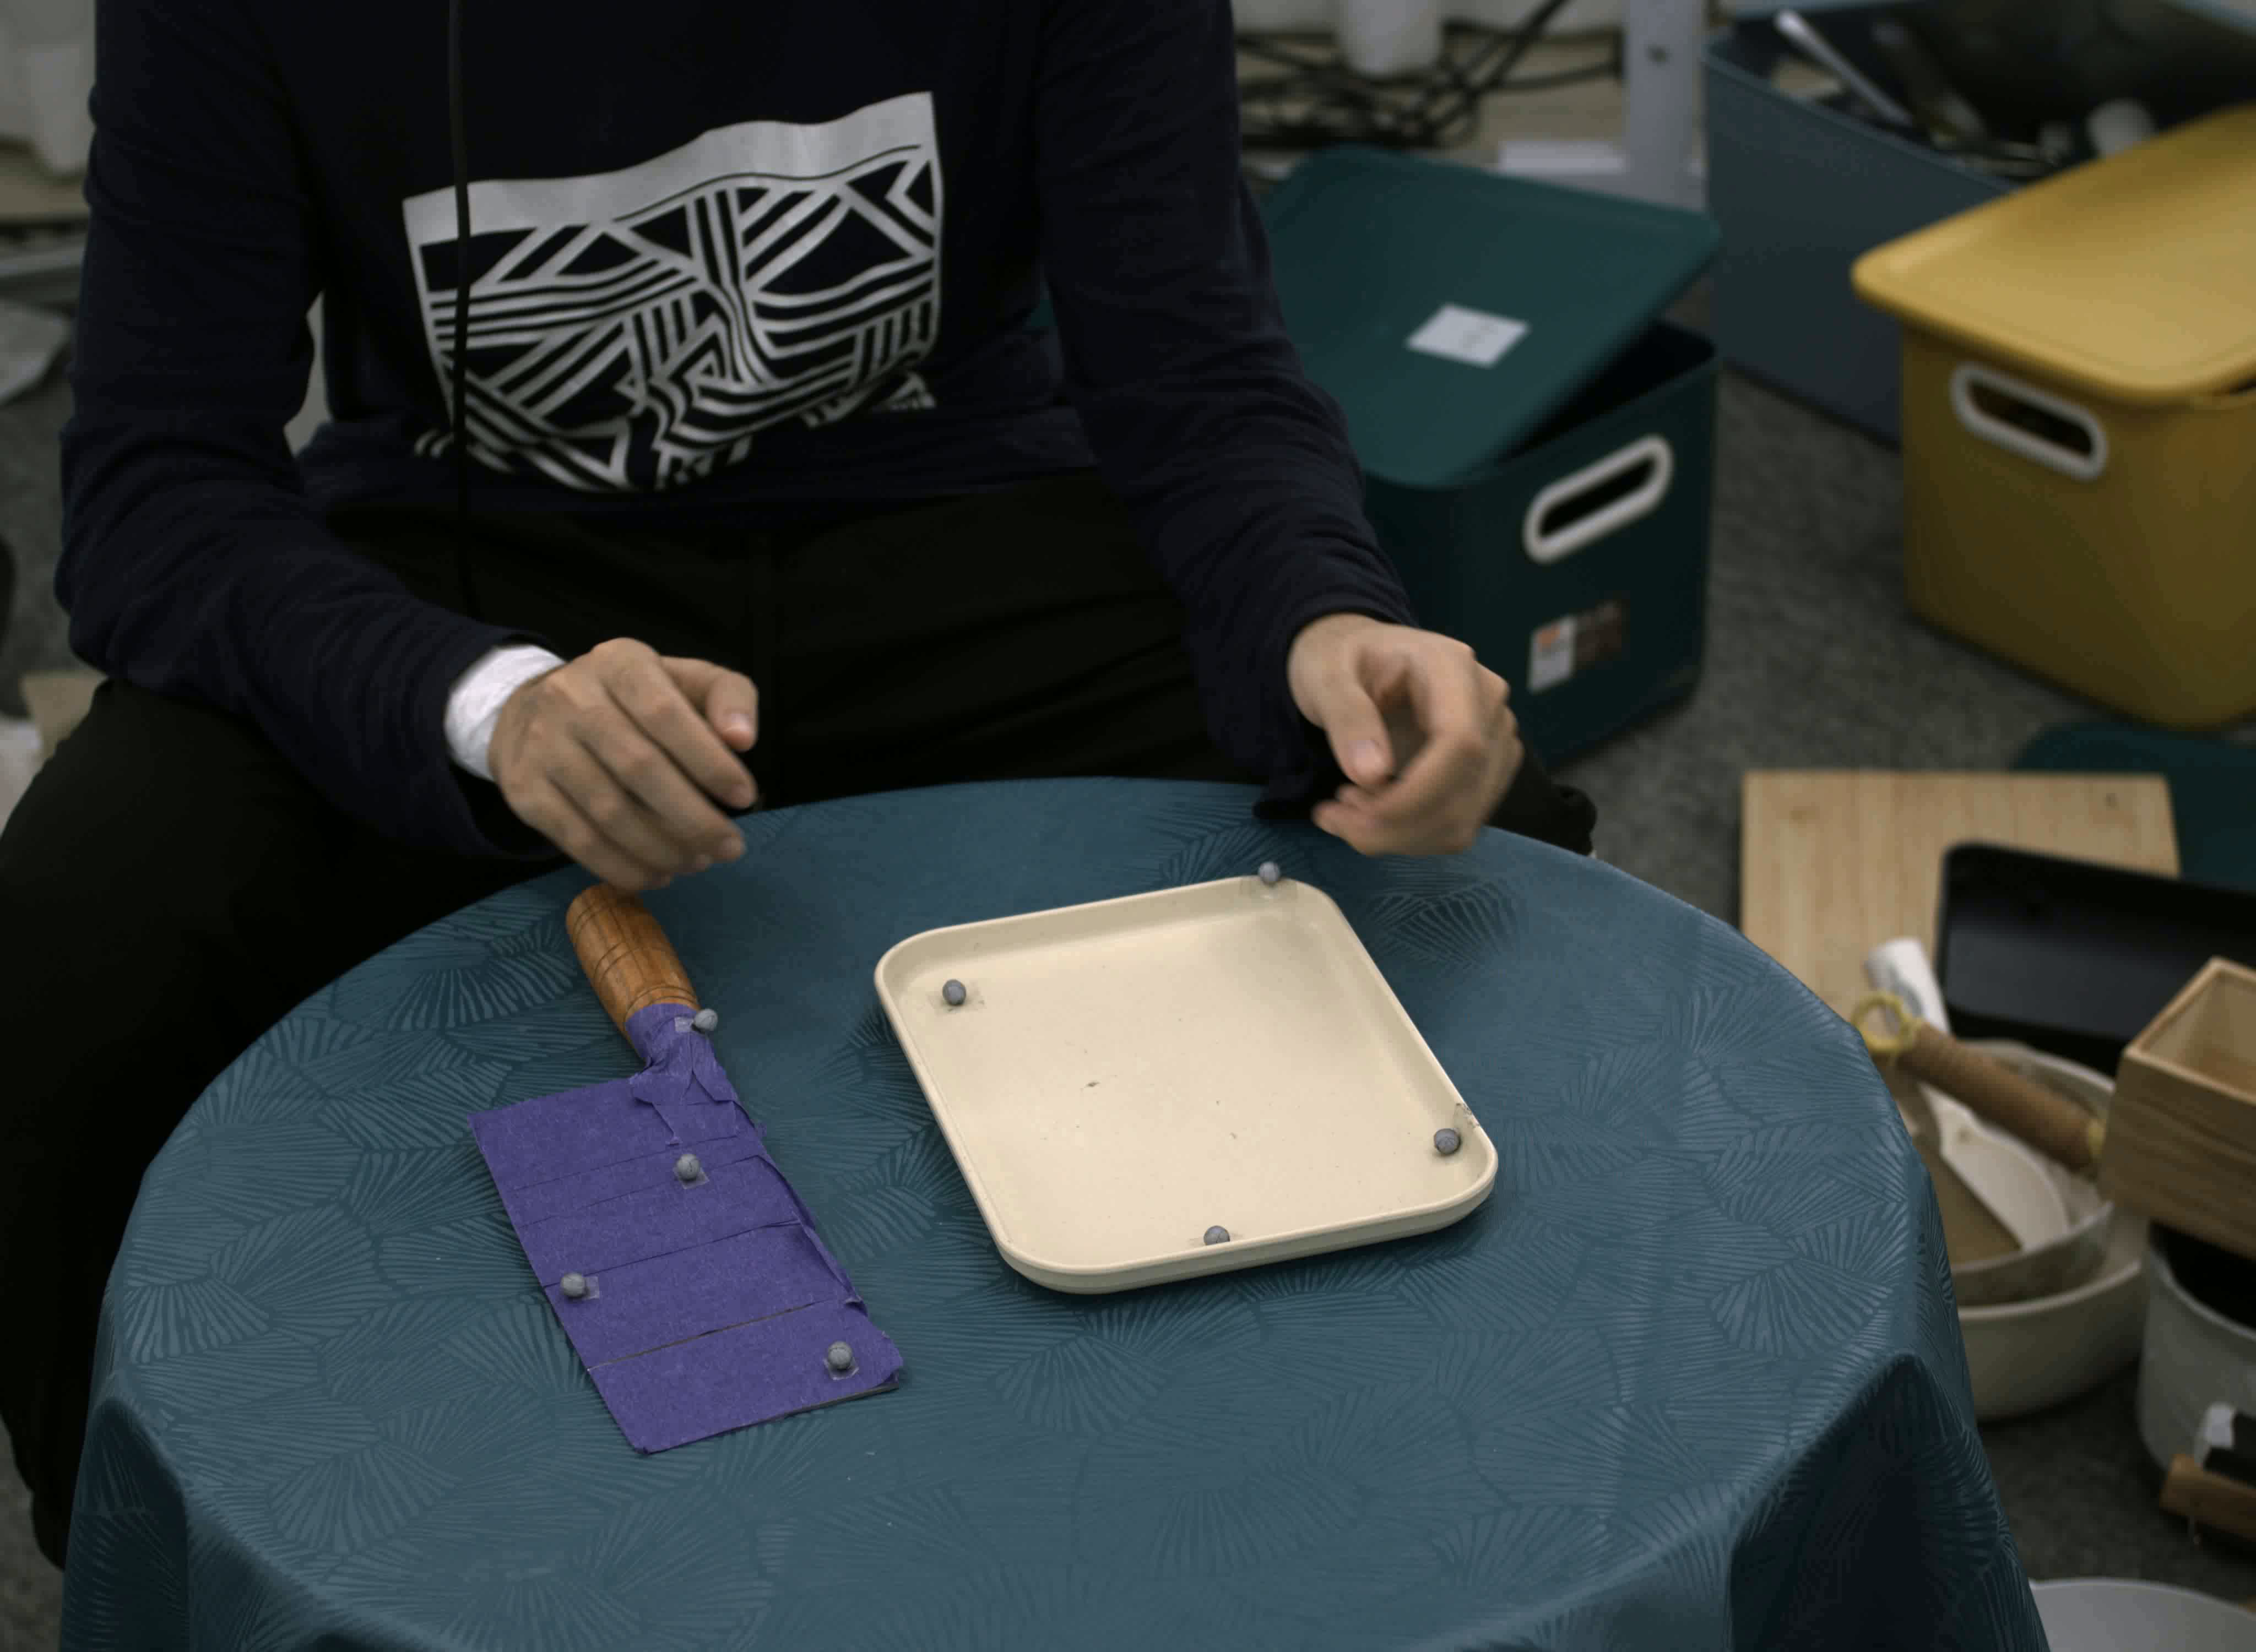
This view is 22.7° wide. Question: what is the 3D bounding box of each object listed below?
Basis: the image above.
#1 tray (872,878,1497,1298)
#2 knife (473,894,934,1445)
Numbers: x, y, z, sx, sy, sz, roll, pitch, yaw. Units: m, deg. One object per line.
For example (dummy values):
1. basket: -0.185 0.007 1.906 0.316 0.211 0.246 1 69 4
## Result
1. tray: 0.016 0.087 1.907 0.171 0.017 0.242 -10 28 -12
2. knife: -0.164 0.110 1.871 0.104 0.032 0.318 -12 29 -18
